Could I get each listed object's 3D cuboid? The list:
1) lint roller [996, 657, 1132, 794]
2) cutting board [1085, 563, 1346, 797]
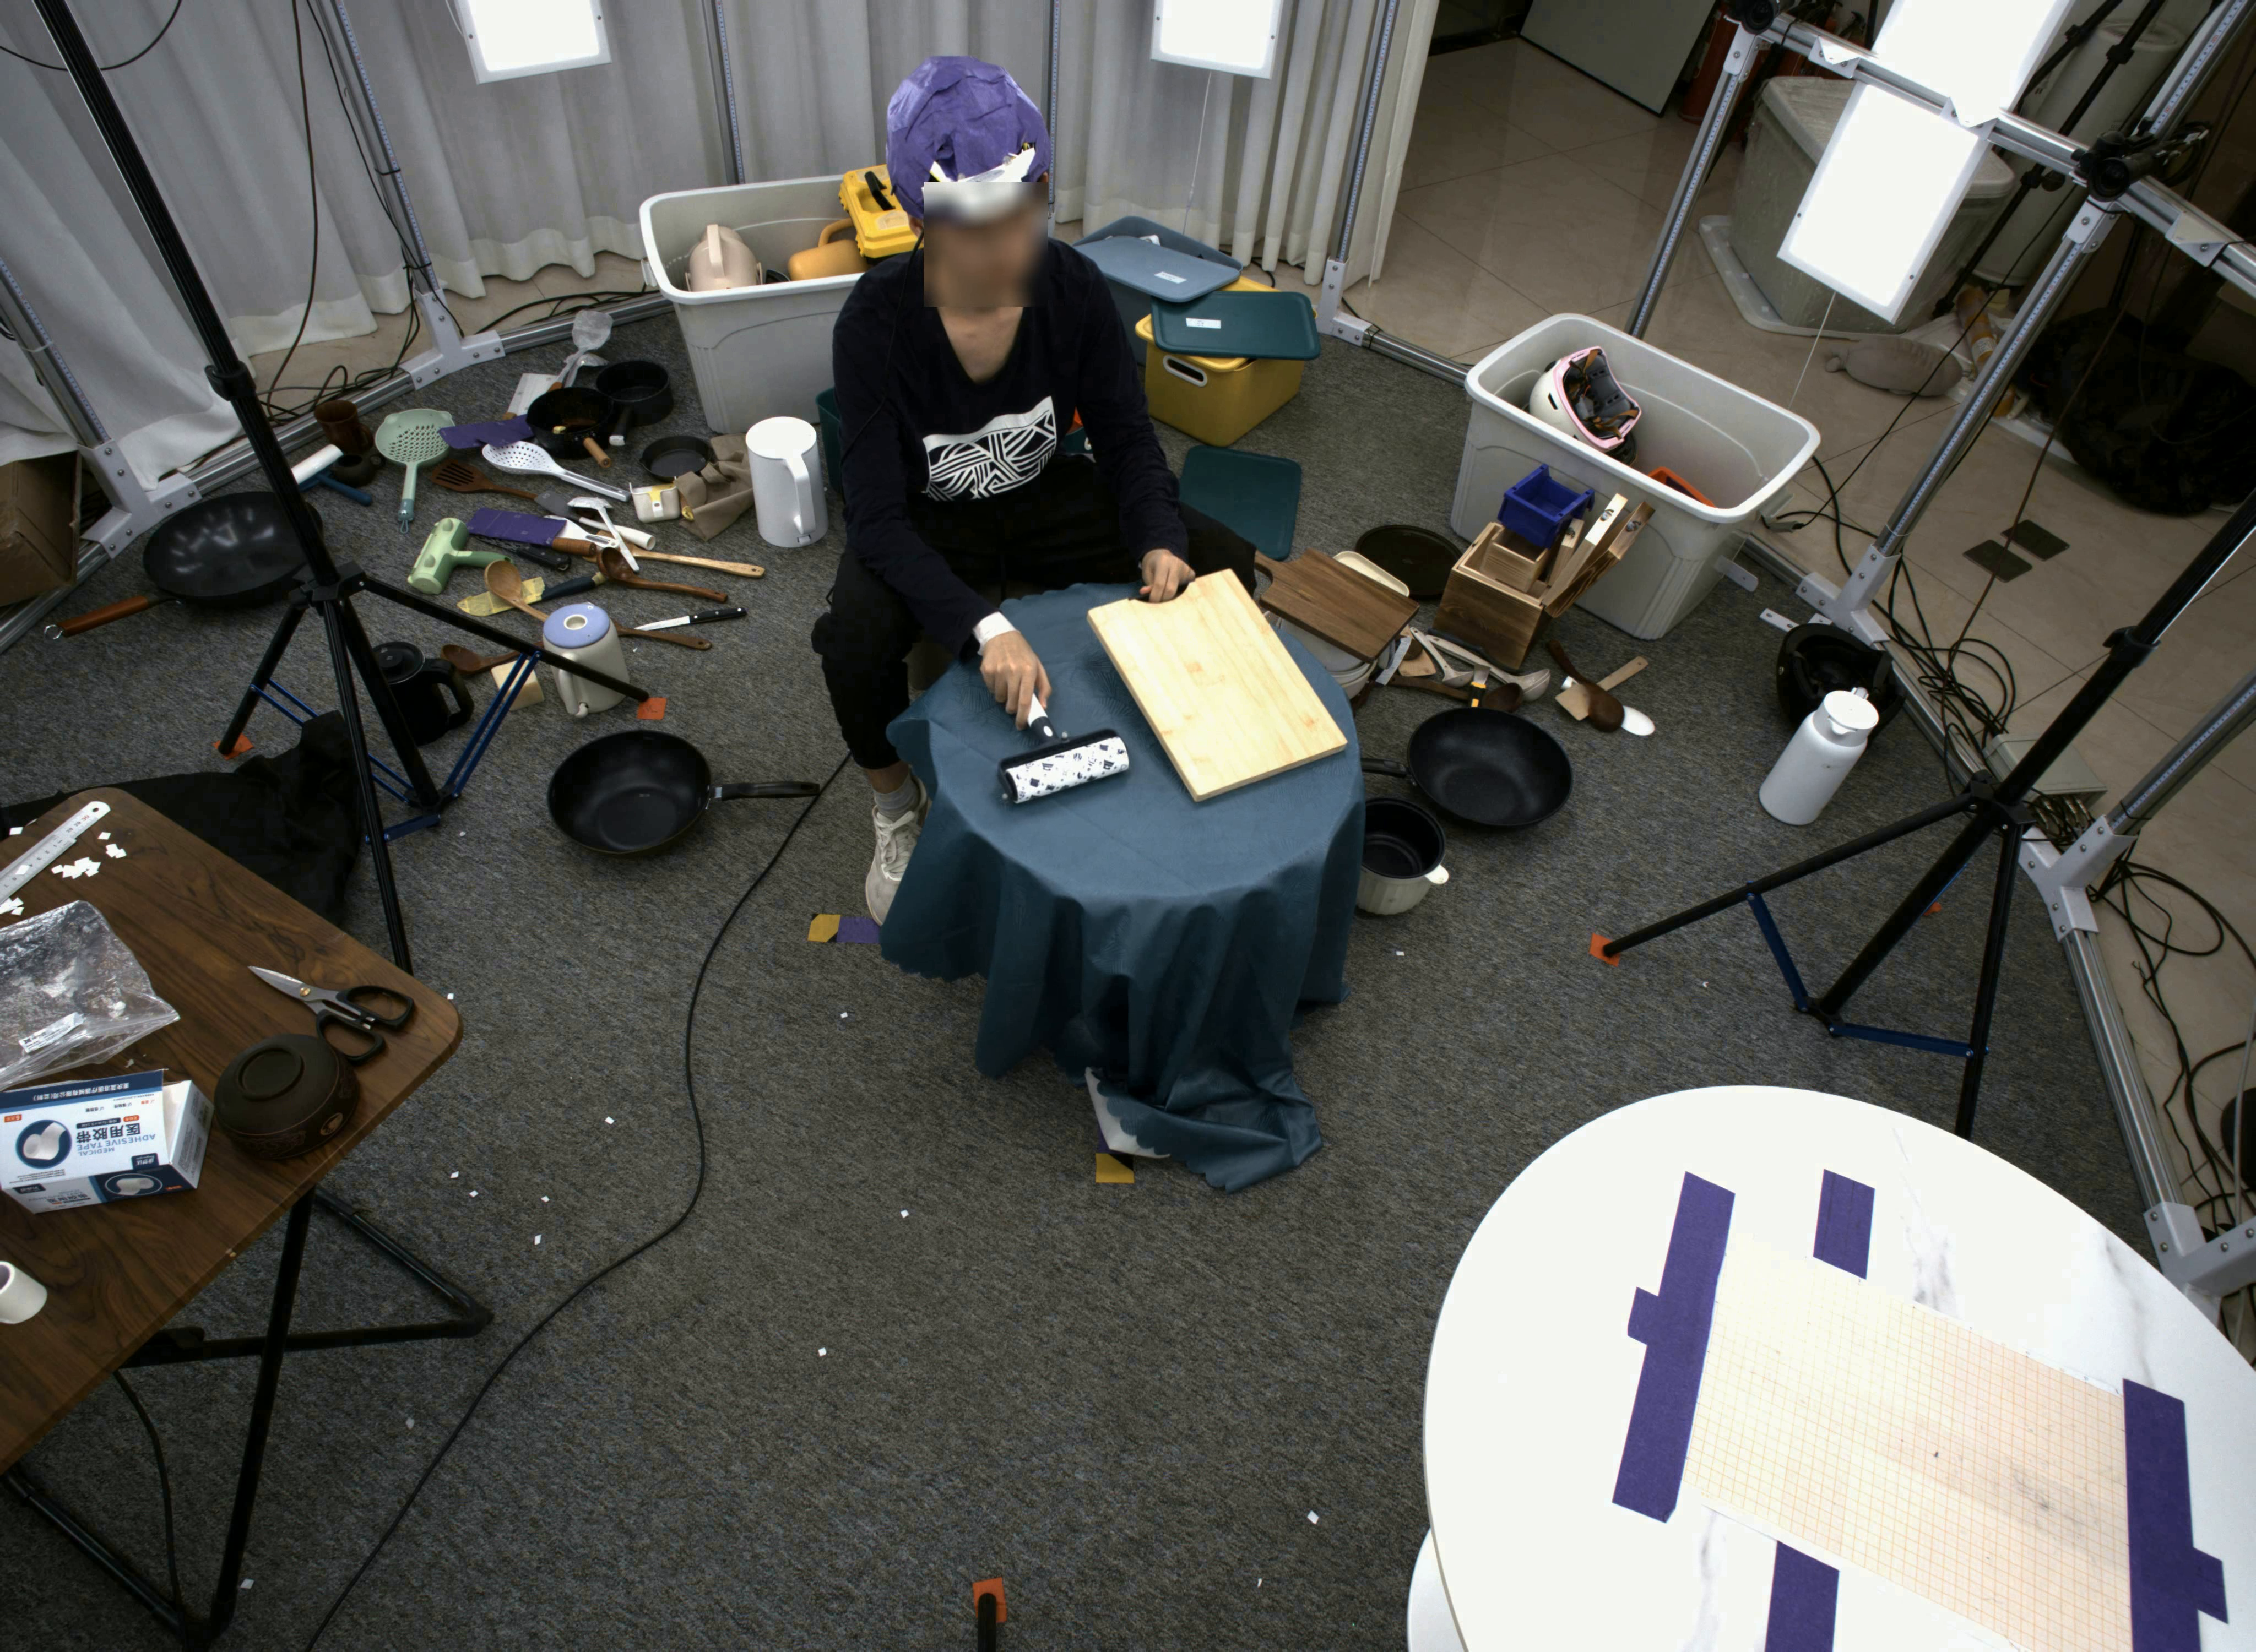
[{"bbox_3d":[-0.117,-0.152,1.749,0.176,0.049,0.253,-13,50,-17],"label":"lint roller"},{"bbox_3d":[0.119,-0.213,1.812,0.251,0.023,0.355,-20,62,-20],"label":"cutting board"}]
